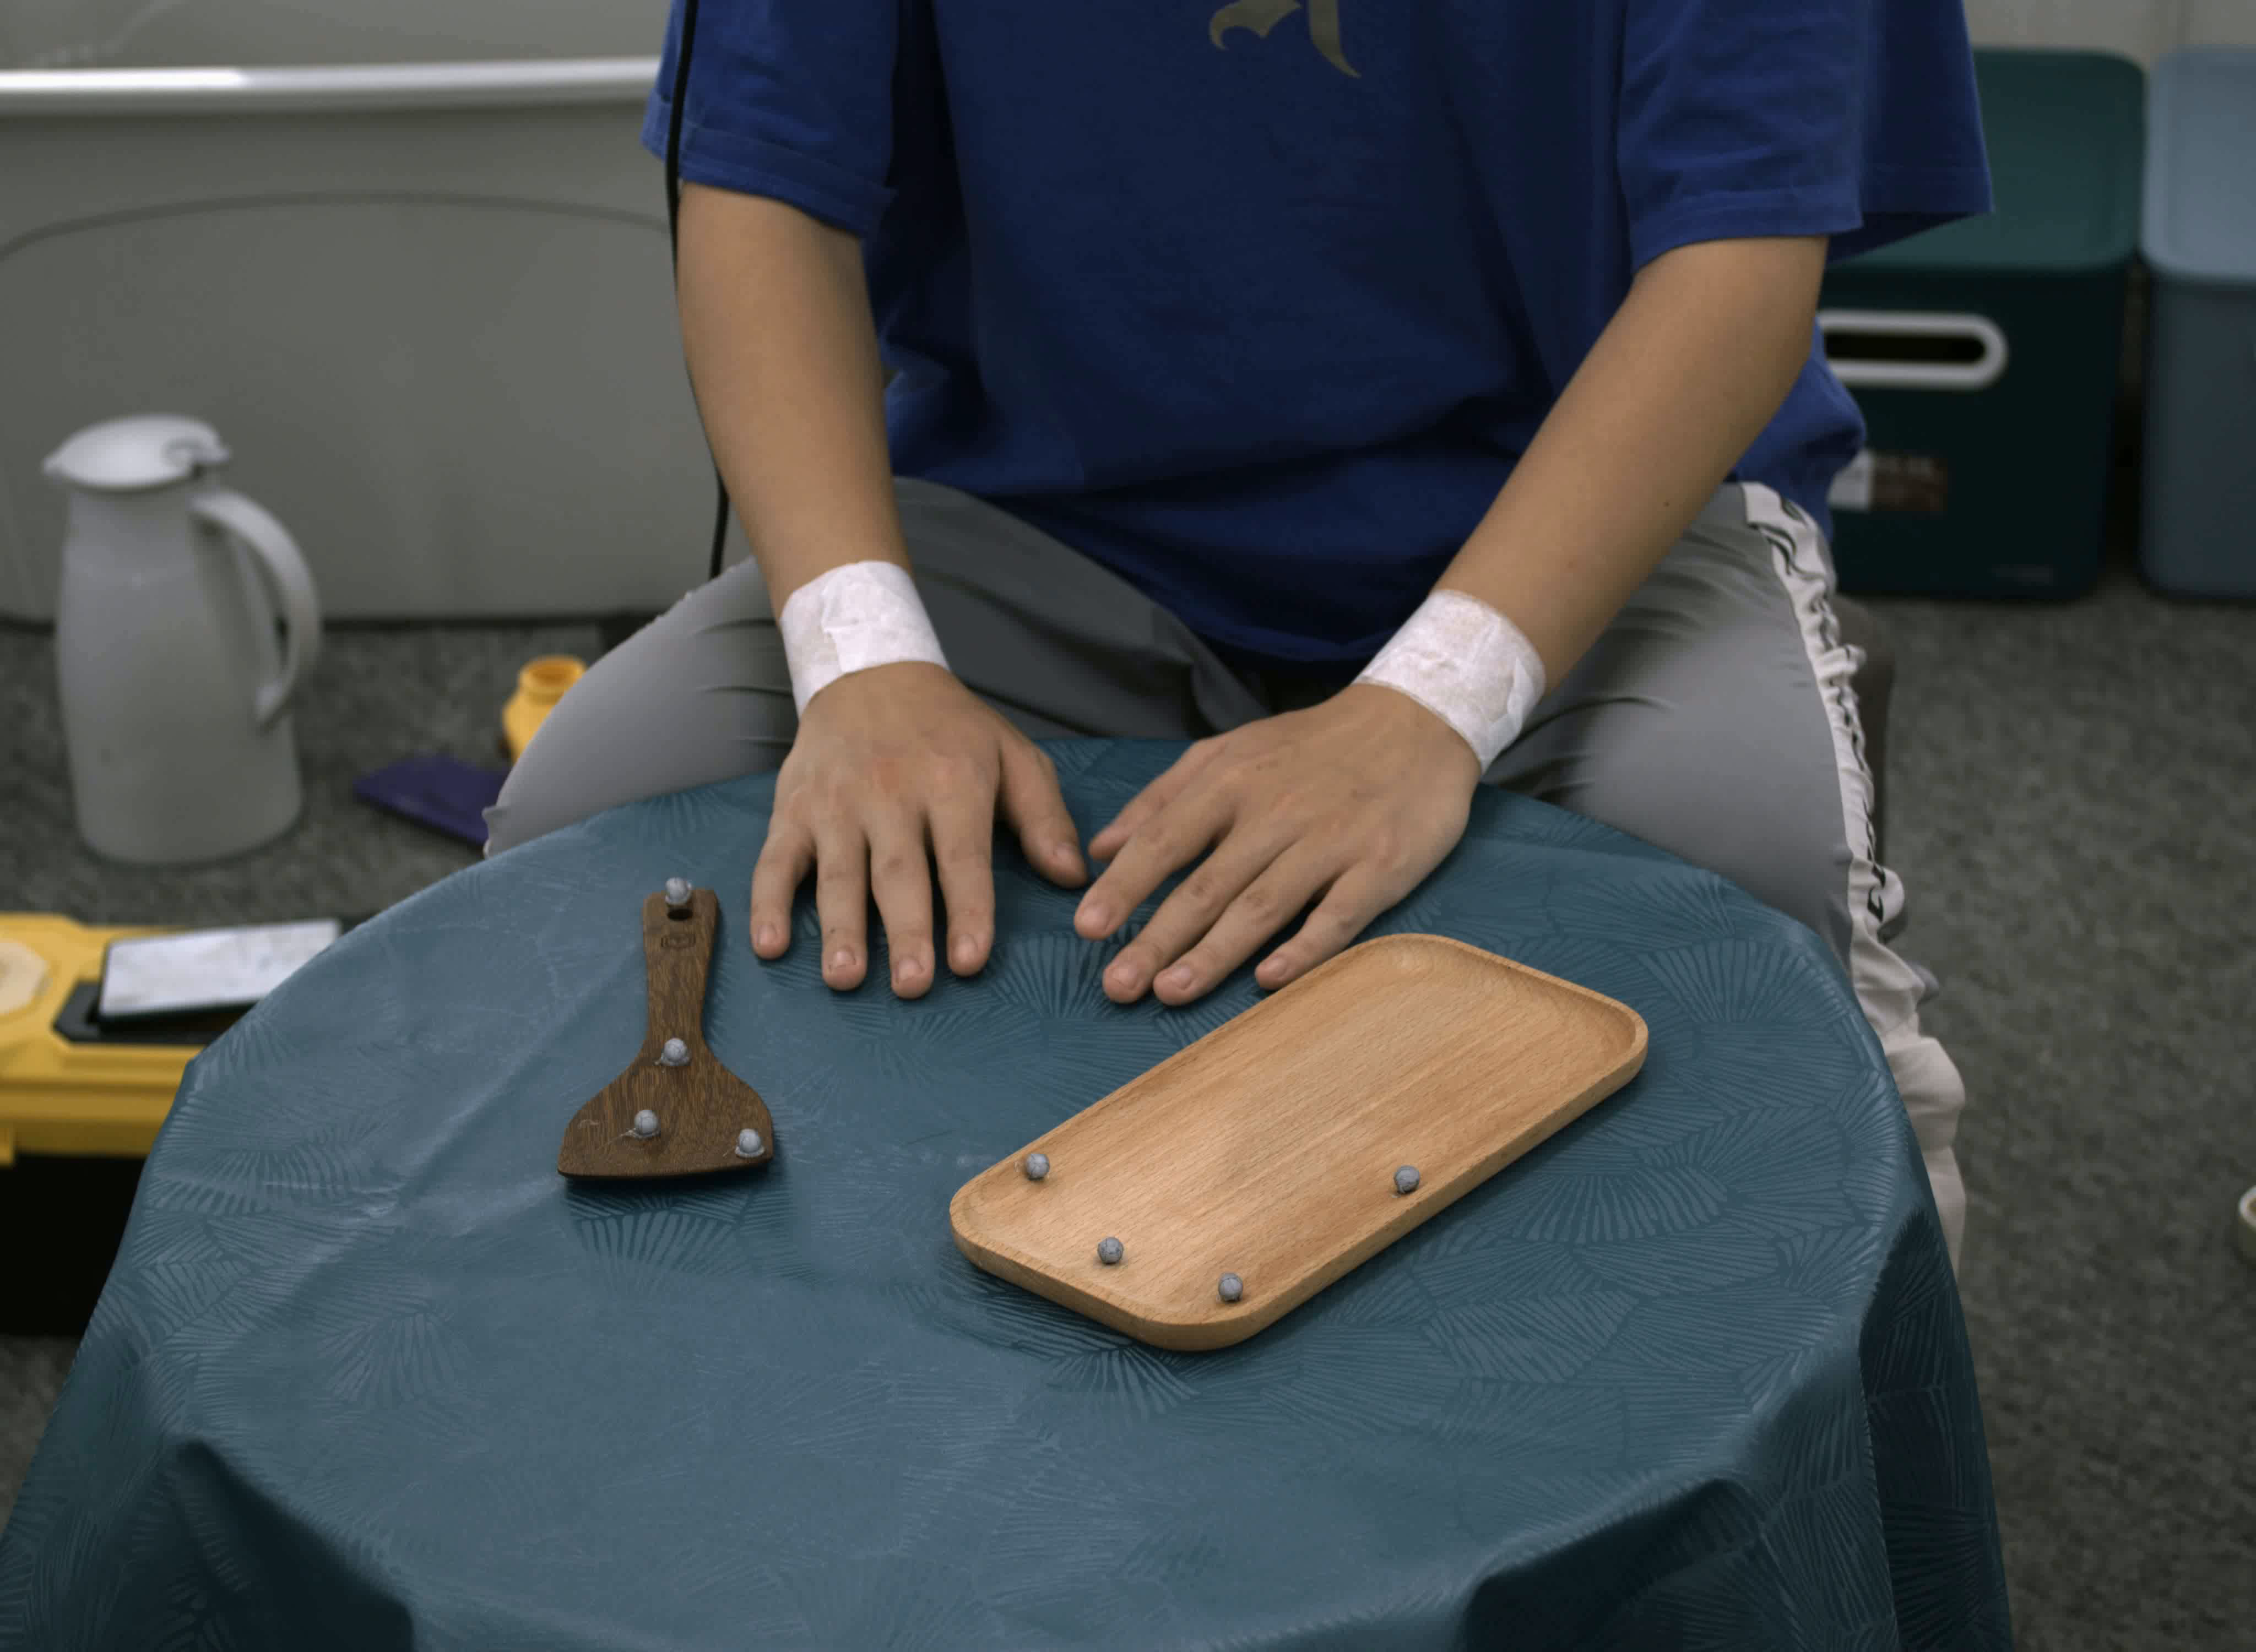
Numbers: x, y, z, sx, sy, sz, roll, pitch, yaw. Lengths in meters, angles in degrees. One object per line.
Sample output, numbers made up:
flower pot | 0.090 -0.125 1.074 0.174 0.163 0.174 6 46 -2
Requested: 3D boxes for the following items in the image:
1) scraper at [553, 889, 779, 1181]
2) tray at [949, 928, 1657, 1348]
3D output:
scraper | -0.158 0.073 1.962 0.075 0.011 0.214 -3 26 -1
tray | 0.061 0.102 1.874 0.130 0.022 0.254 23 36 37
